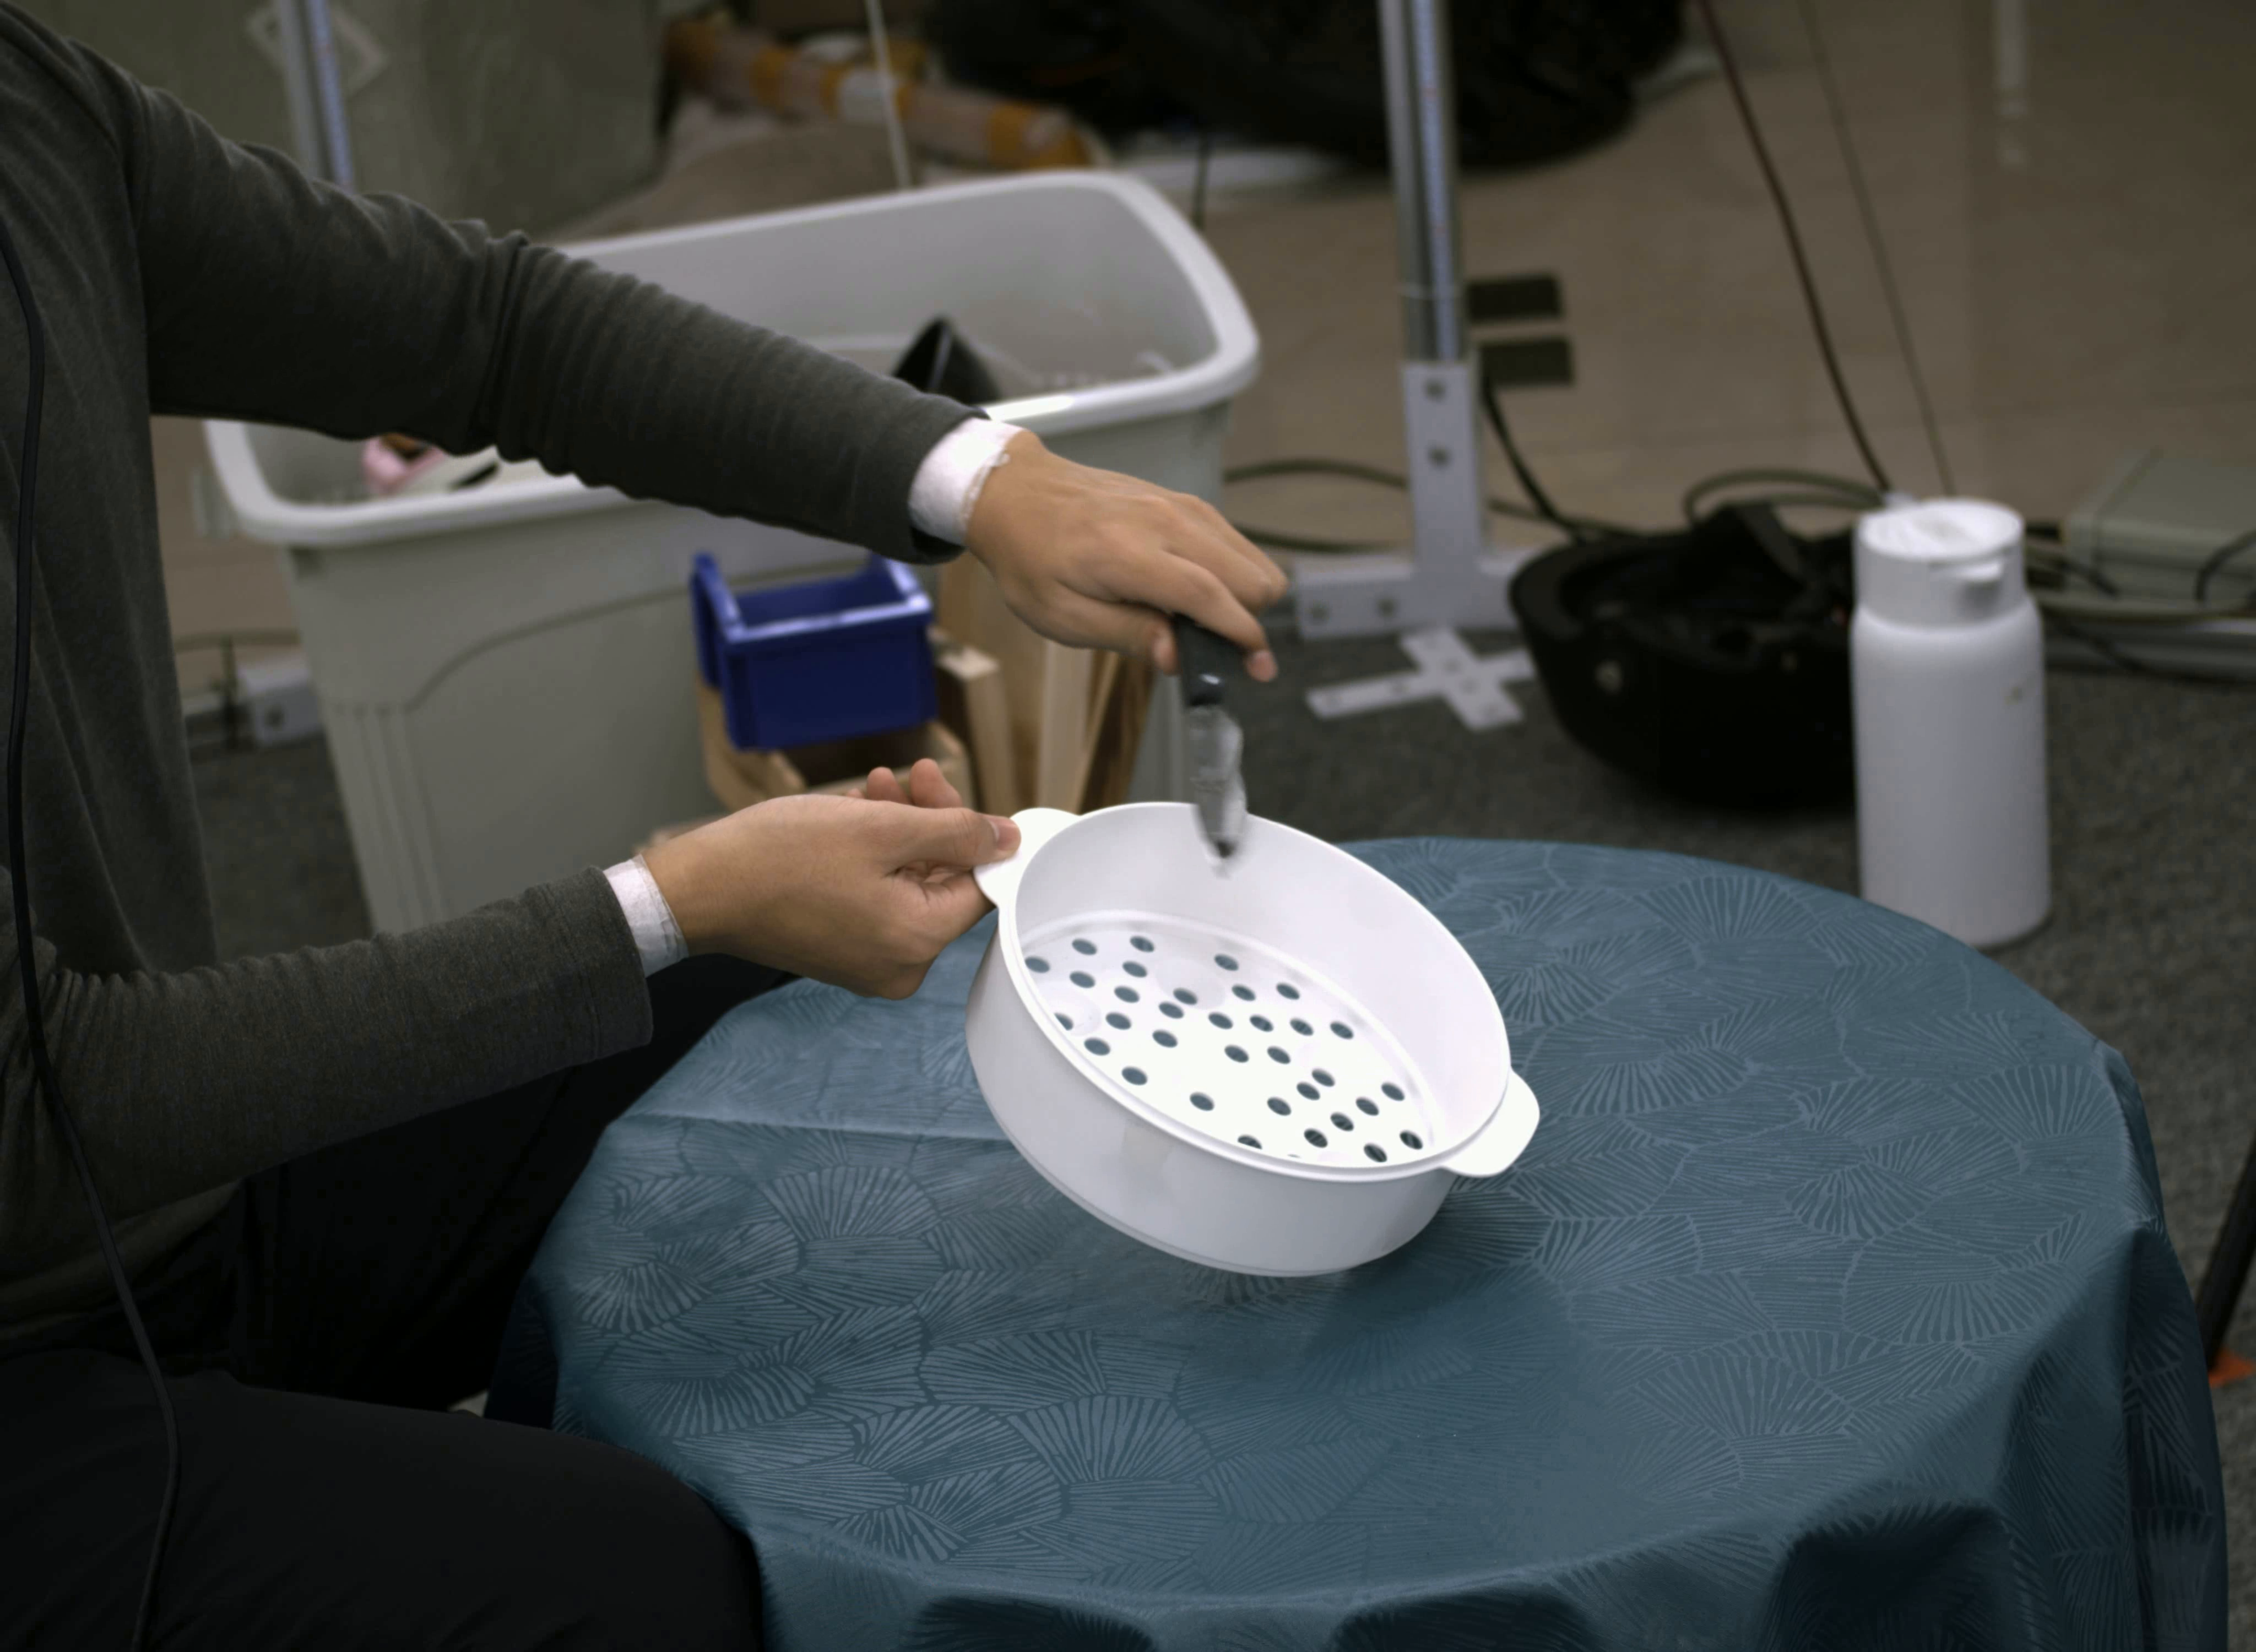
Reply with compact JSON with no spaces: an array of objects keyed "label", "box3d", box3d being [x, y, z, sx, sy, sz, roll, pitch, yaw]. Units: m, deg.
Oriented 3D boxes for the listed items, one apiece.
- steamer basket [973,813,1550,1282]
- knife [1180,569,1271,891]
[{"label":"steamer basket","box3d":[0.041,0.083,2.100,0.230,0.070,0.199,30,36,8]},{"label":"knife","box3d":[0.036,-0.038,2.139,0.024,0.016,0.234,17,28,-14]}]
